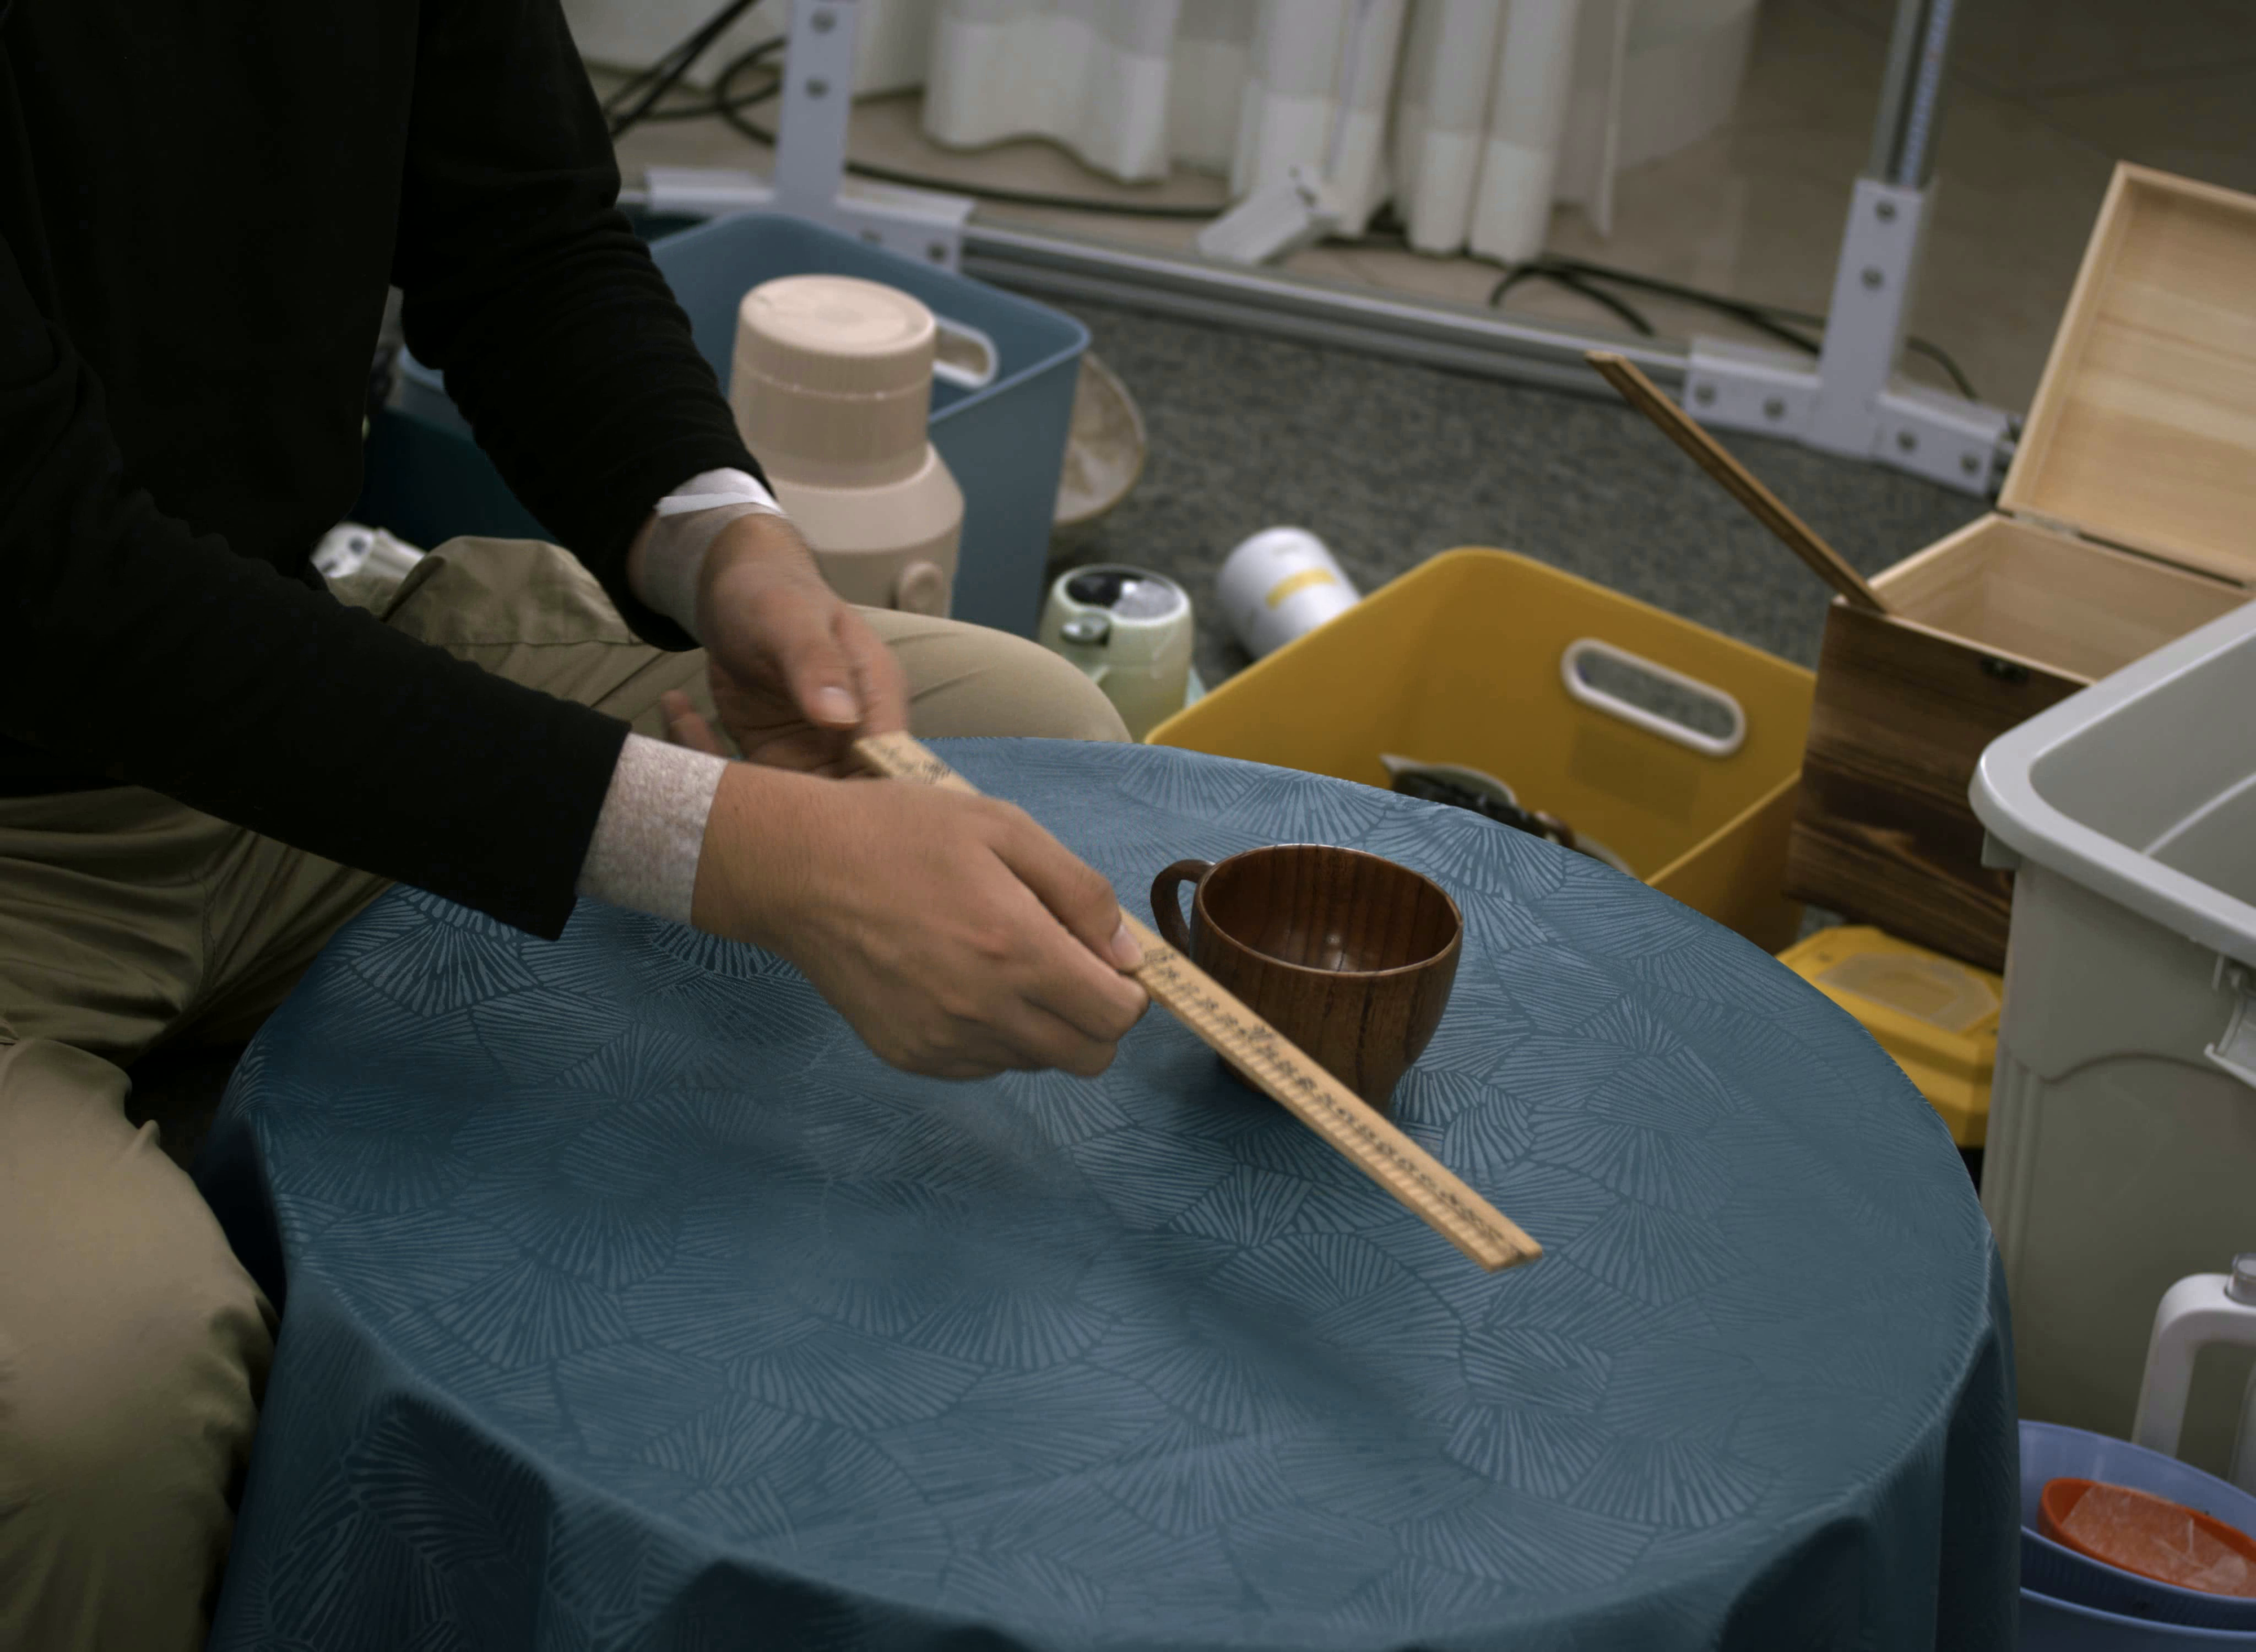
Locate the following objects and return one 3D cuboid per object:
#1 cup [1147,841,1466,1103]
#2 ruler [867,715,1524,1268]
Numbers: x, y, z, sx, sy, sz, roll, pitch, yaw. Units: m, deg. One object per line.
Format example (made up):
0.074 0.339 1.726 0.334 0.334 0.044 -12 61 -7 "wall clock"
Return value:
0.058 0.052 1.884 0.120 0.067 0.096 20 32 28 "cup"
0.018 0.048 1.776 0.027 0.022 0.335 -5 34 -42 "ruler"
